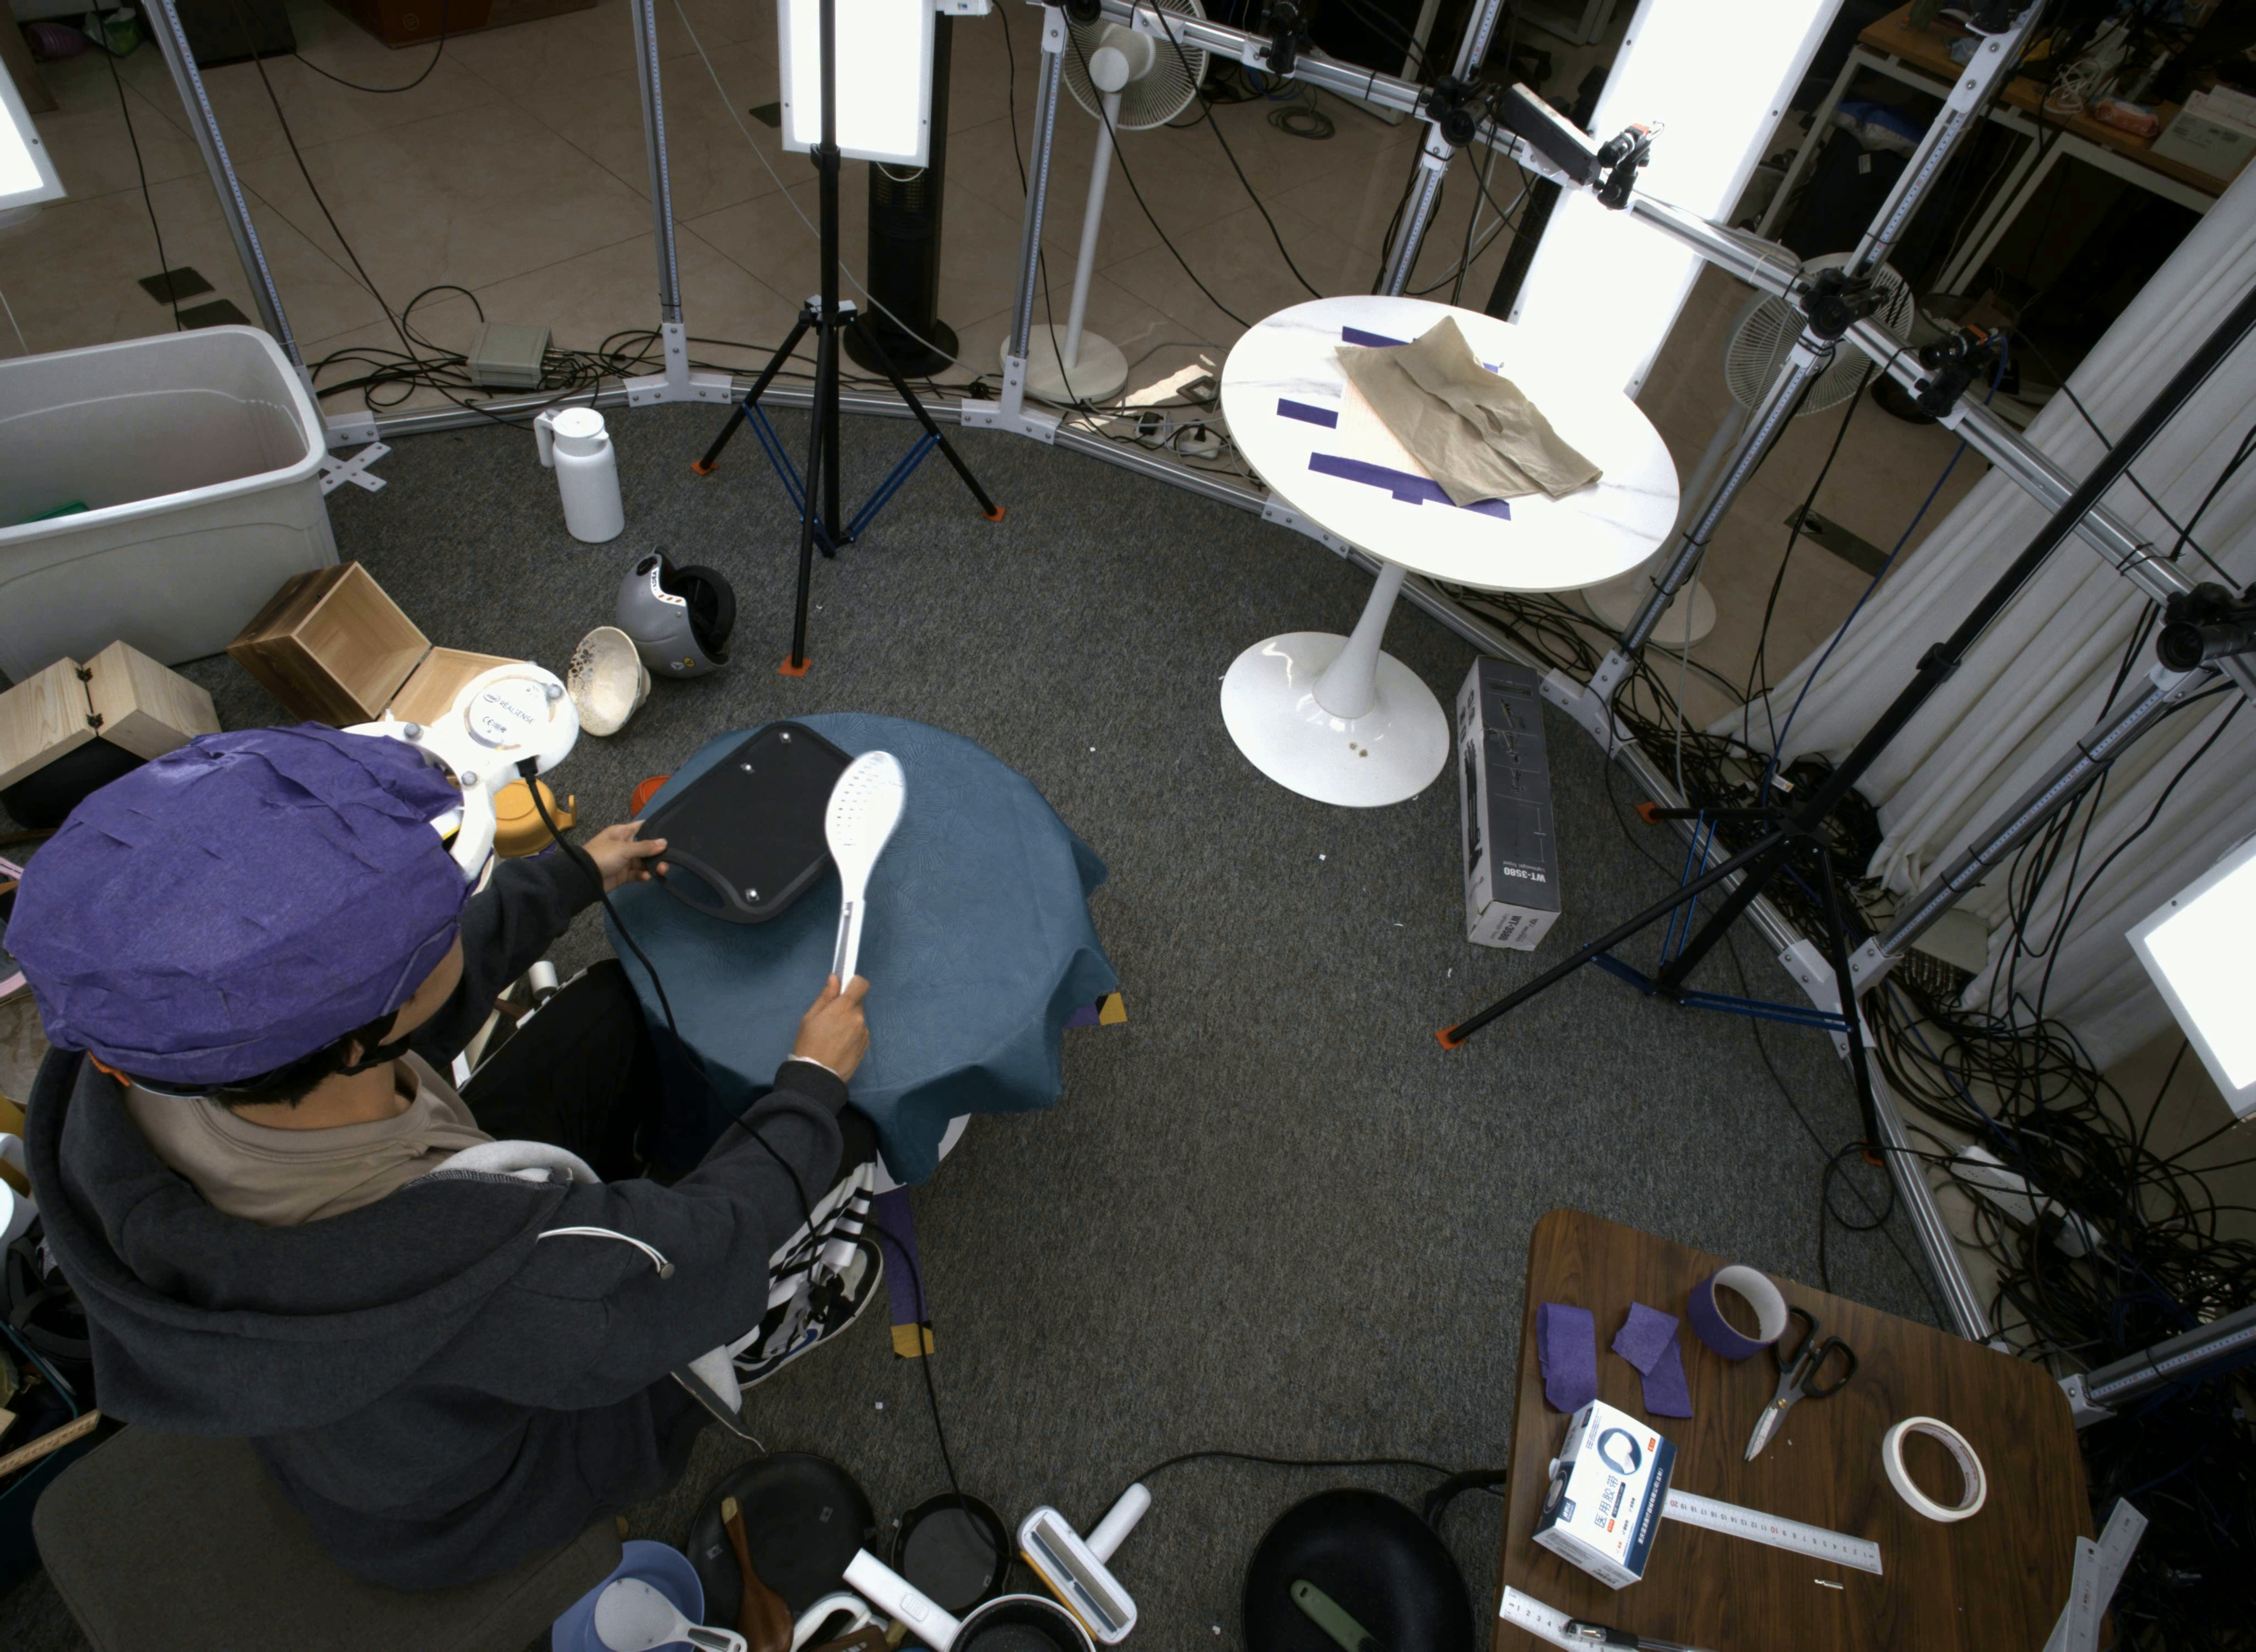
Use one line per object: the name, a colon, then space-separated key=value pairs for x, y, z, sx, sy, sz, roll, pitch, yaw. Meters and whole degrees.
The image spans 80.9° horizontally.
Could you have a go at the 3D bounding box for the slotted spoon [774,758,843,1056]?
slotted spoon: x=-0.376 y=0.089 z=1.506 sx=0.047 sy=0.133 sz=0.347 roll=23 pitch=59 yaw=-41

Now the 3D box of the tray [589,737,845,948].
tray: x=-0.512 y=0.015 z=1.605 sx=0.209 sy=0.010 sz=0.324 roll=33 pitch=47 yaw=4
